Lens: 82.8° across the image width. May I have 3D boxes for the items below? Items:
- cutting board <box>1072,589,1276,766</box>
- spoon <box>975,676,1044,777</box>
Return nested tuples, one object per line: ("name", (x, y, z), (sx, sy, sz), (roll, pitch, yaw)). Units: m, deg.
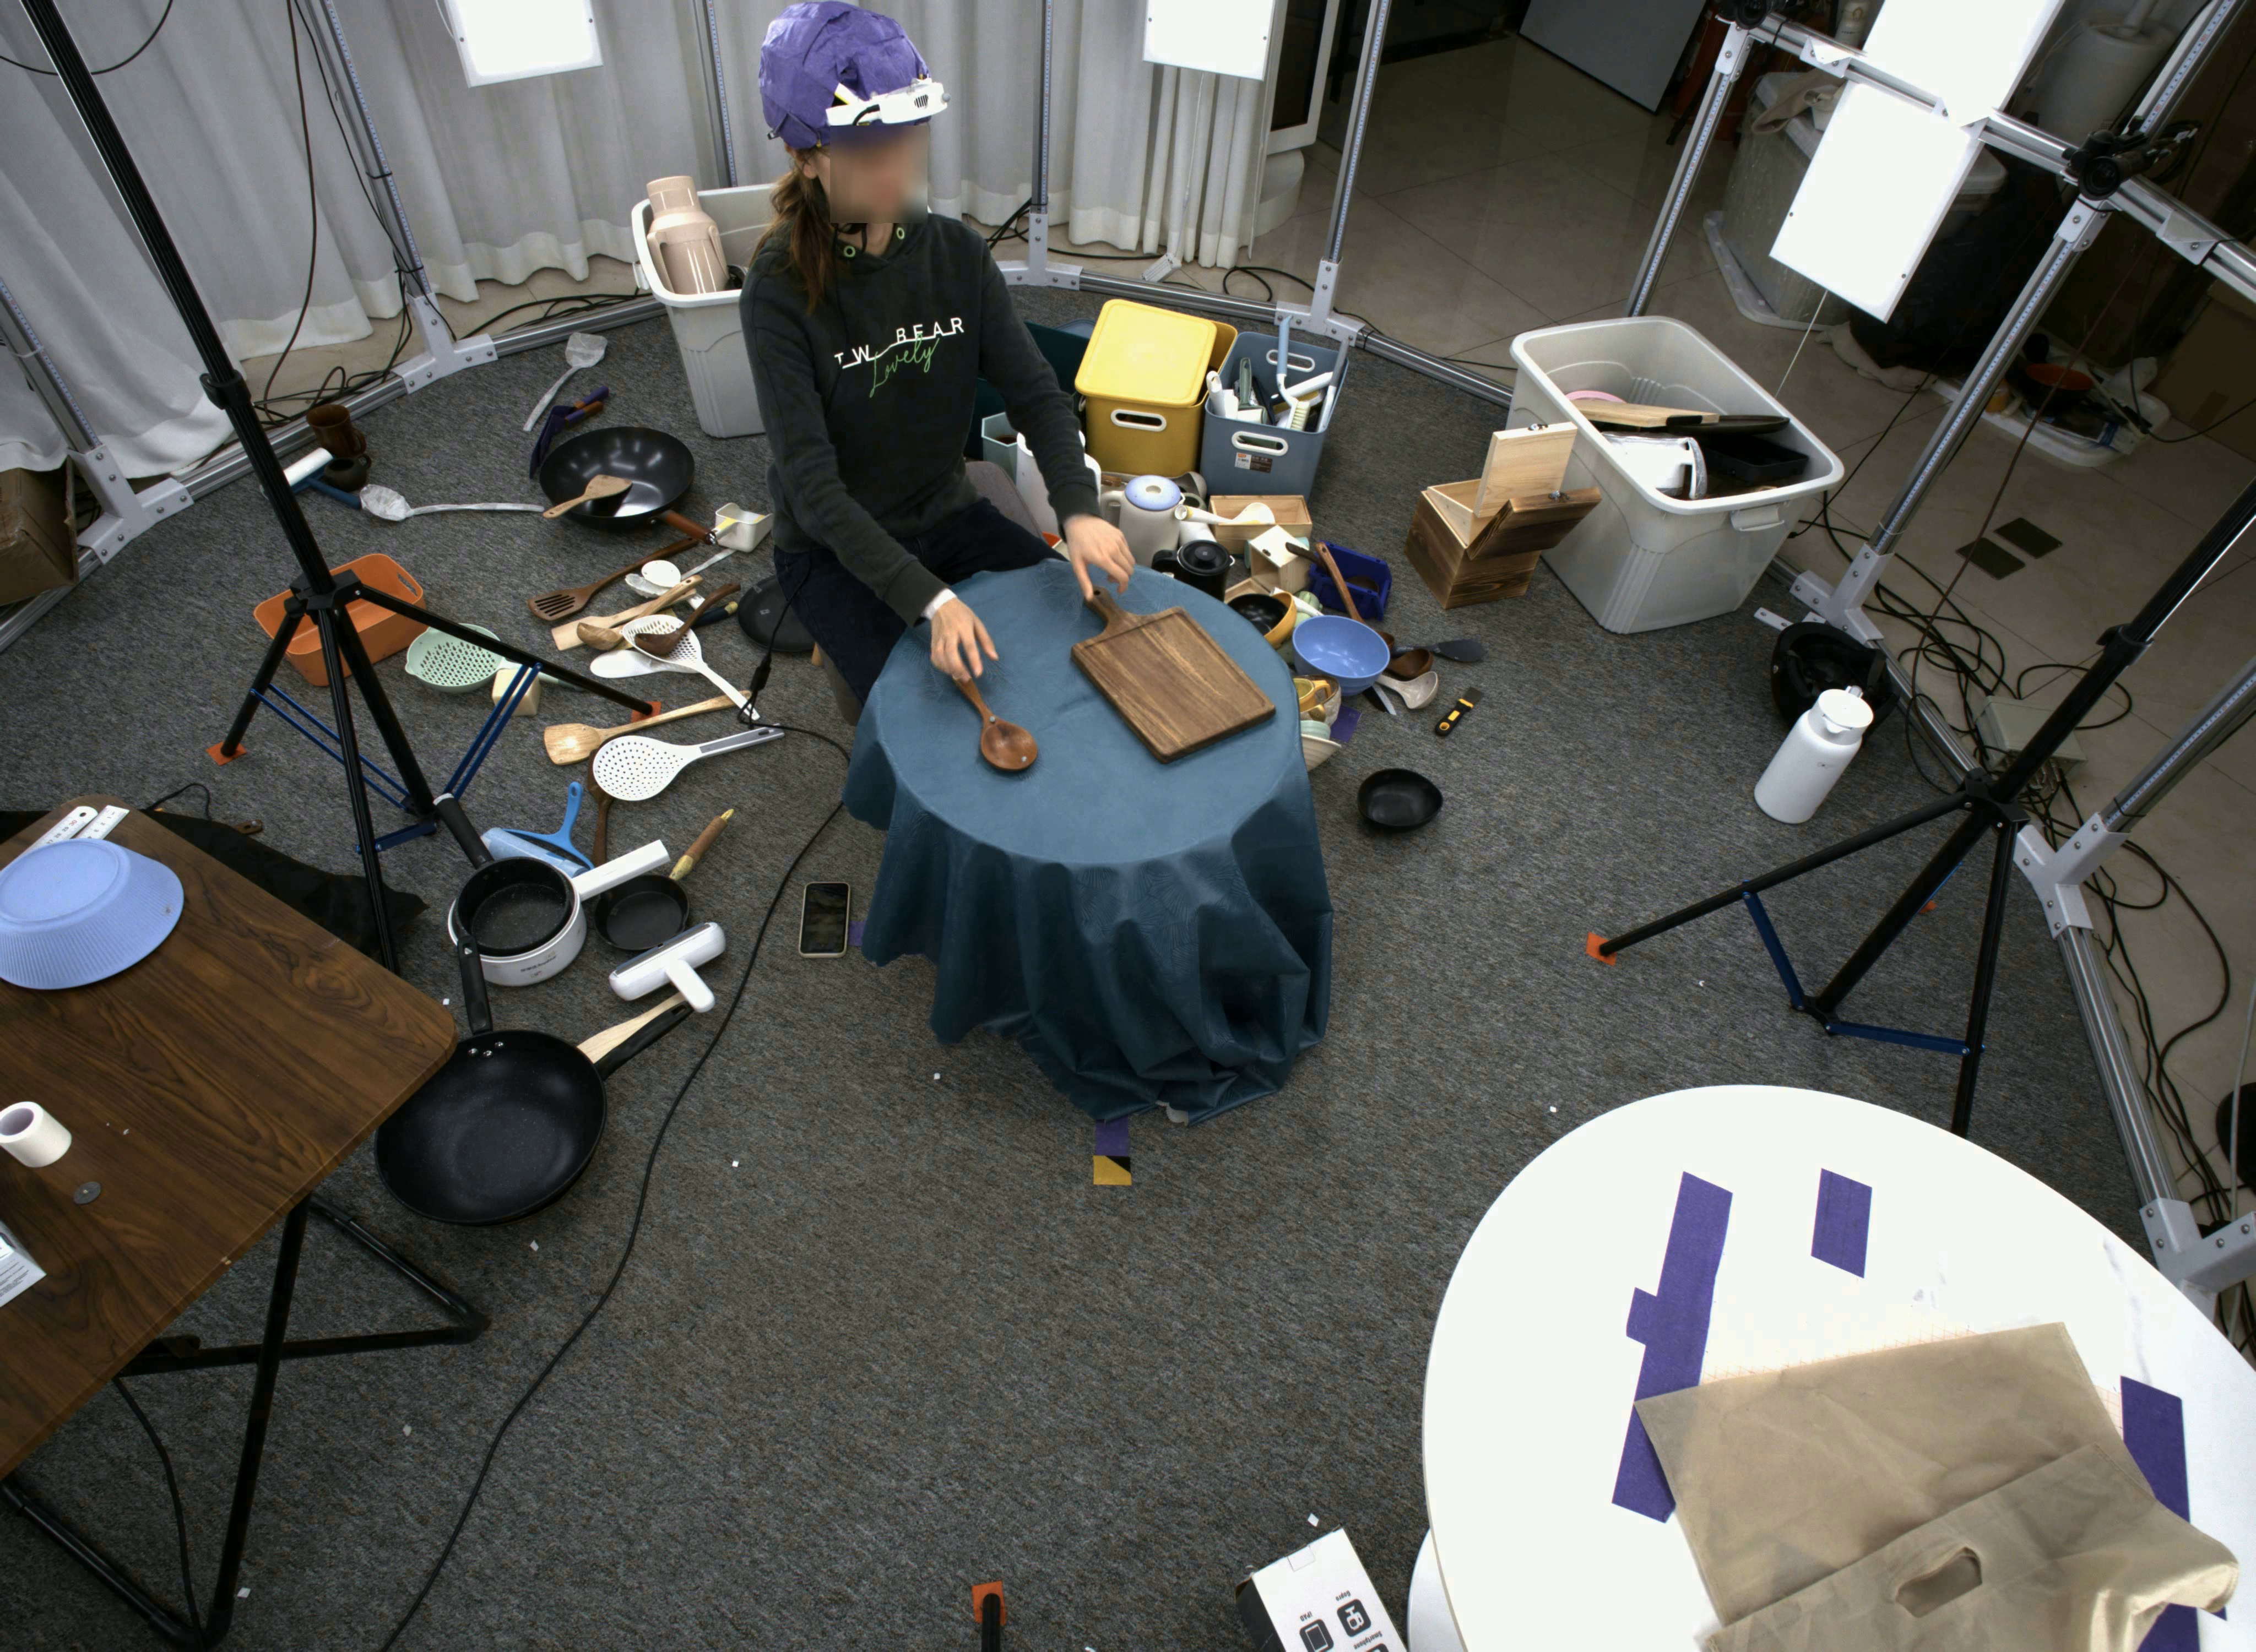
("cutting board", (0.038, -0.240, 1.885), (0.202, 0.022, 0.359), (-24, 54, -21))
("spoon", (-0.175, -0.139, 1.792), (0.075, 0.017, 0.221), (-11, 47, -16))
